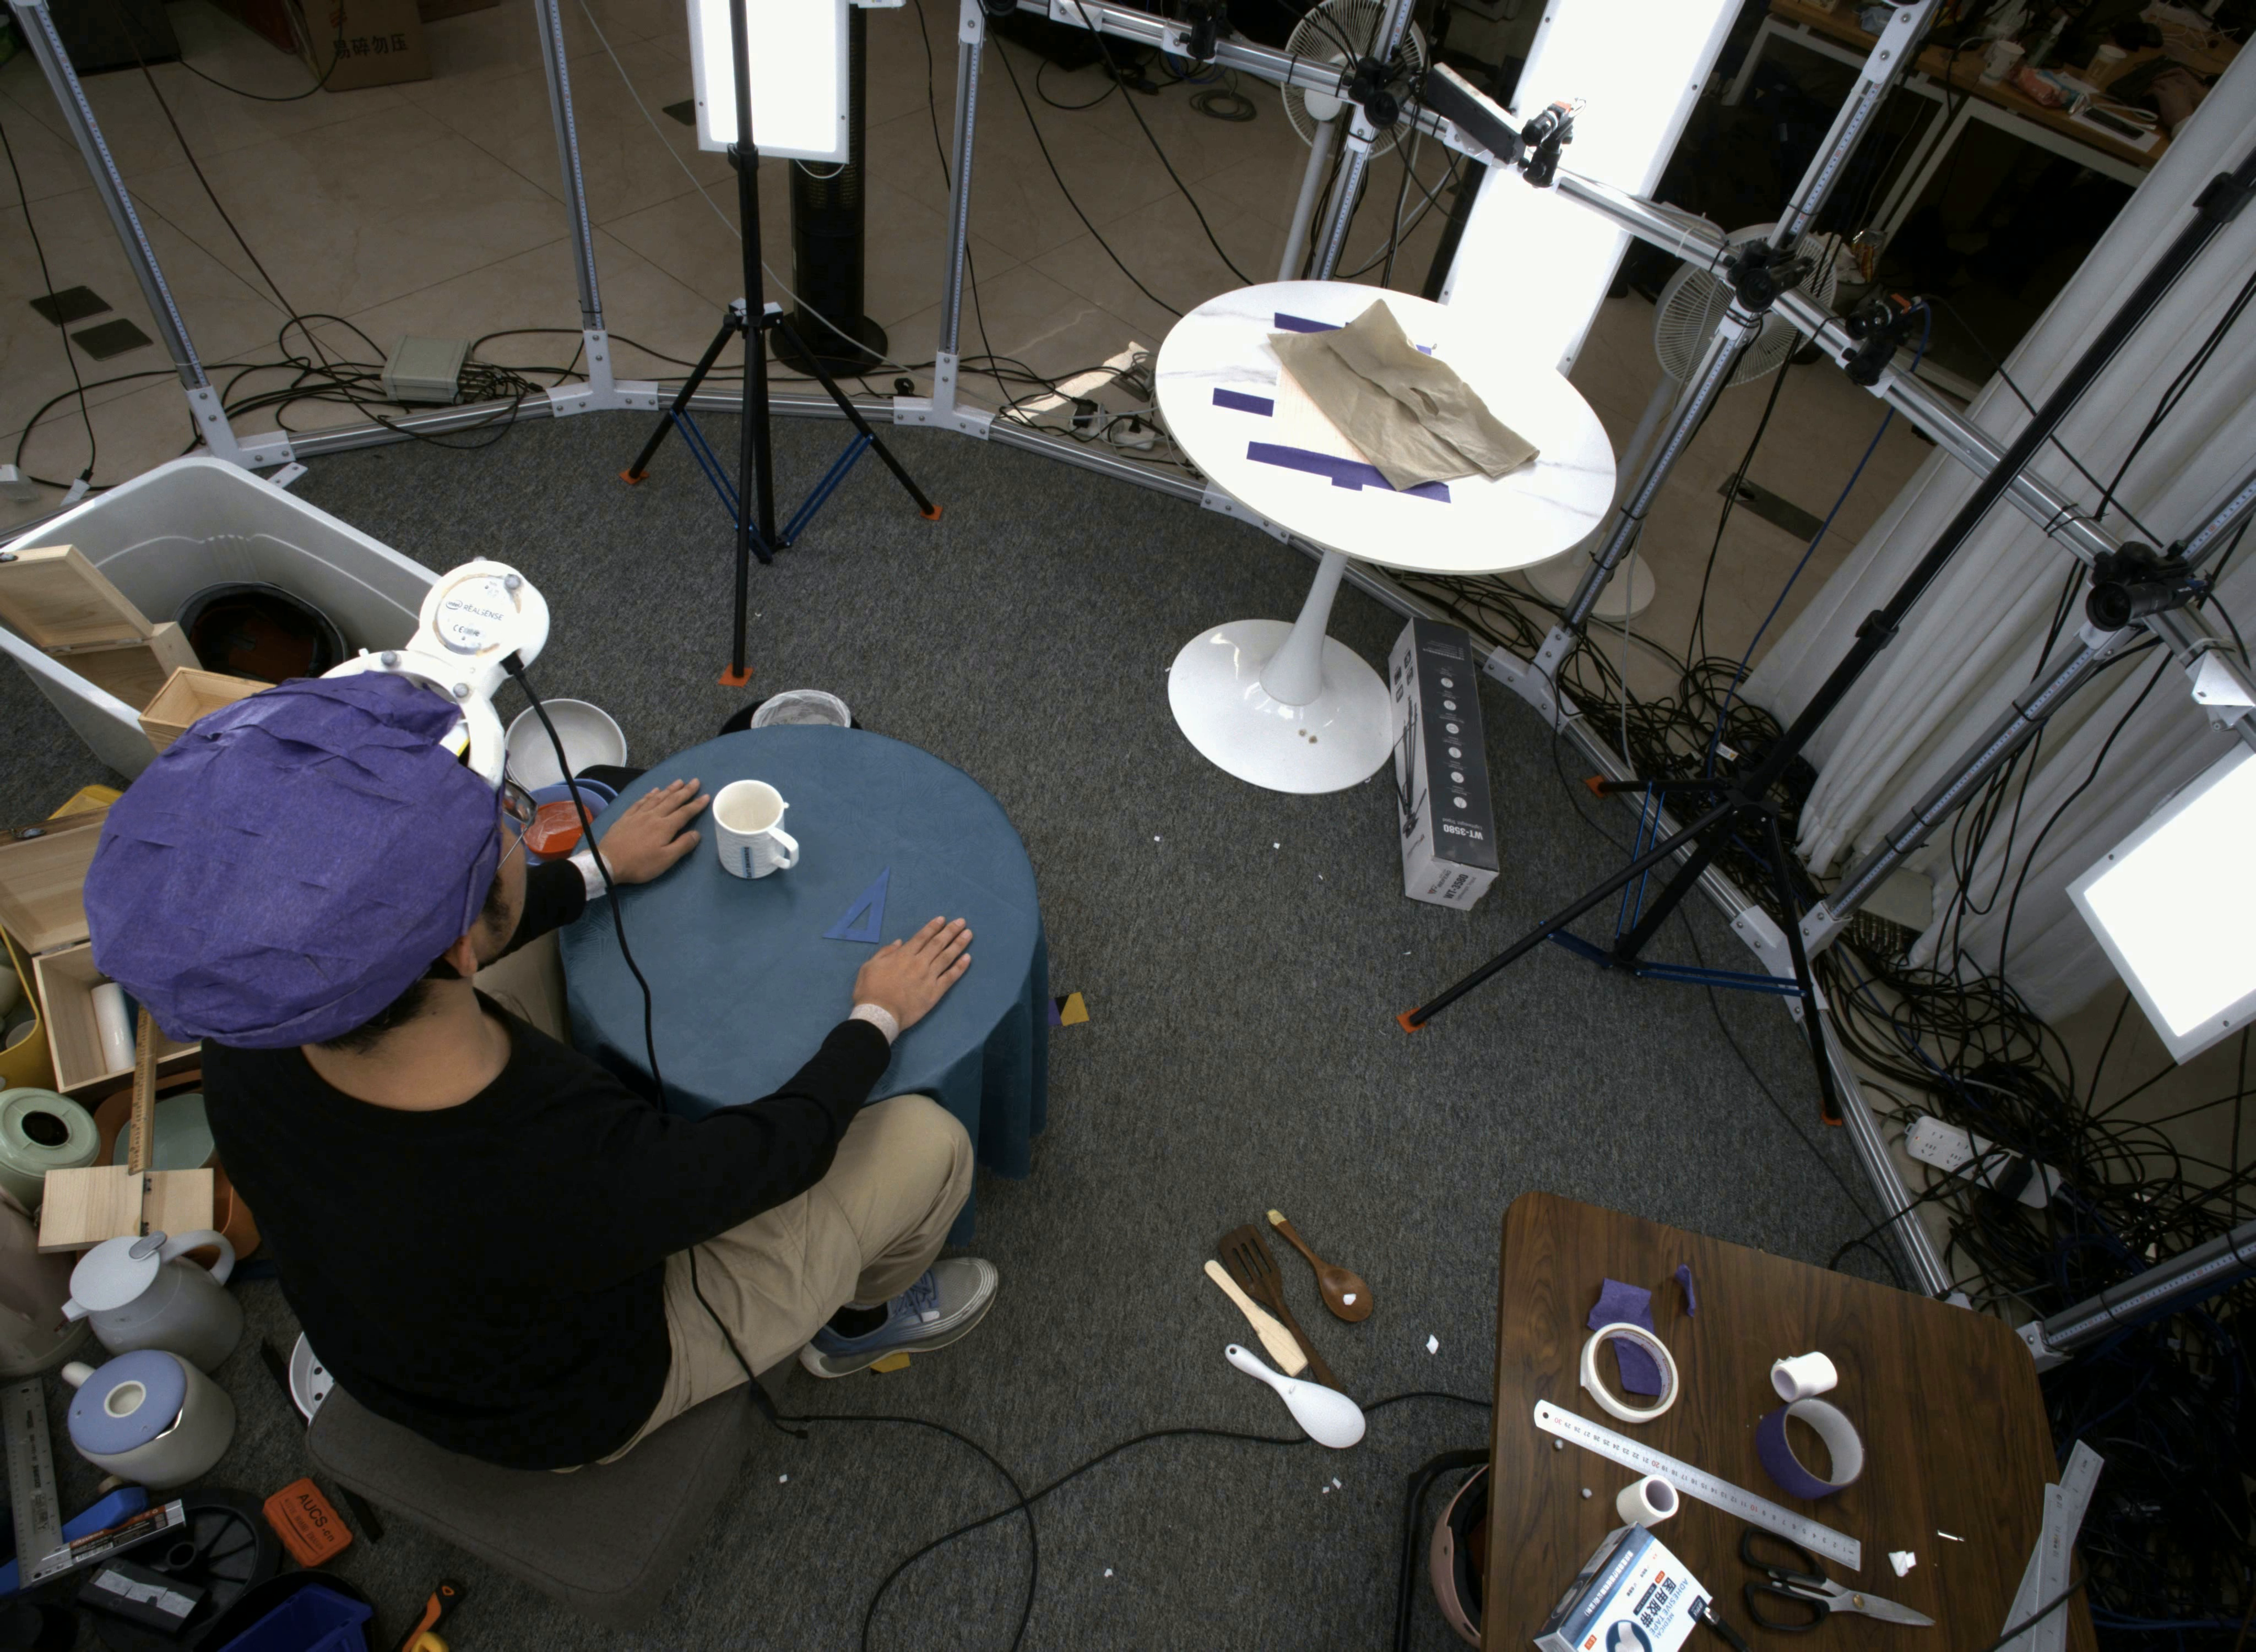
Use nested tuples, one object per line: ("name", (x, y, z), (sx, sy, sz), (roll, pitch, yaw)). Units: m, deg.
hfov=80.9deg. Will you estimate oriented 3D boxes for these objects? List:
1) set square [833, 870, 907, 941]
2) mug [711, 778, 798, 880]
("set square", (-0.313, 0.106, 1.666), (0.060, 0.007, 0.132), (33, 53, 13))
("mug", (-0.466, 0.012, 1.632), (0.116, 0.104, 0.084), (30, 52, 11))
